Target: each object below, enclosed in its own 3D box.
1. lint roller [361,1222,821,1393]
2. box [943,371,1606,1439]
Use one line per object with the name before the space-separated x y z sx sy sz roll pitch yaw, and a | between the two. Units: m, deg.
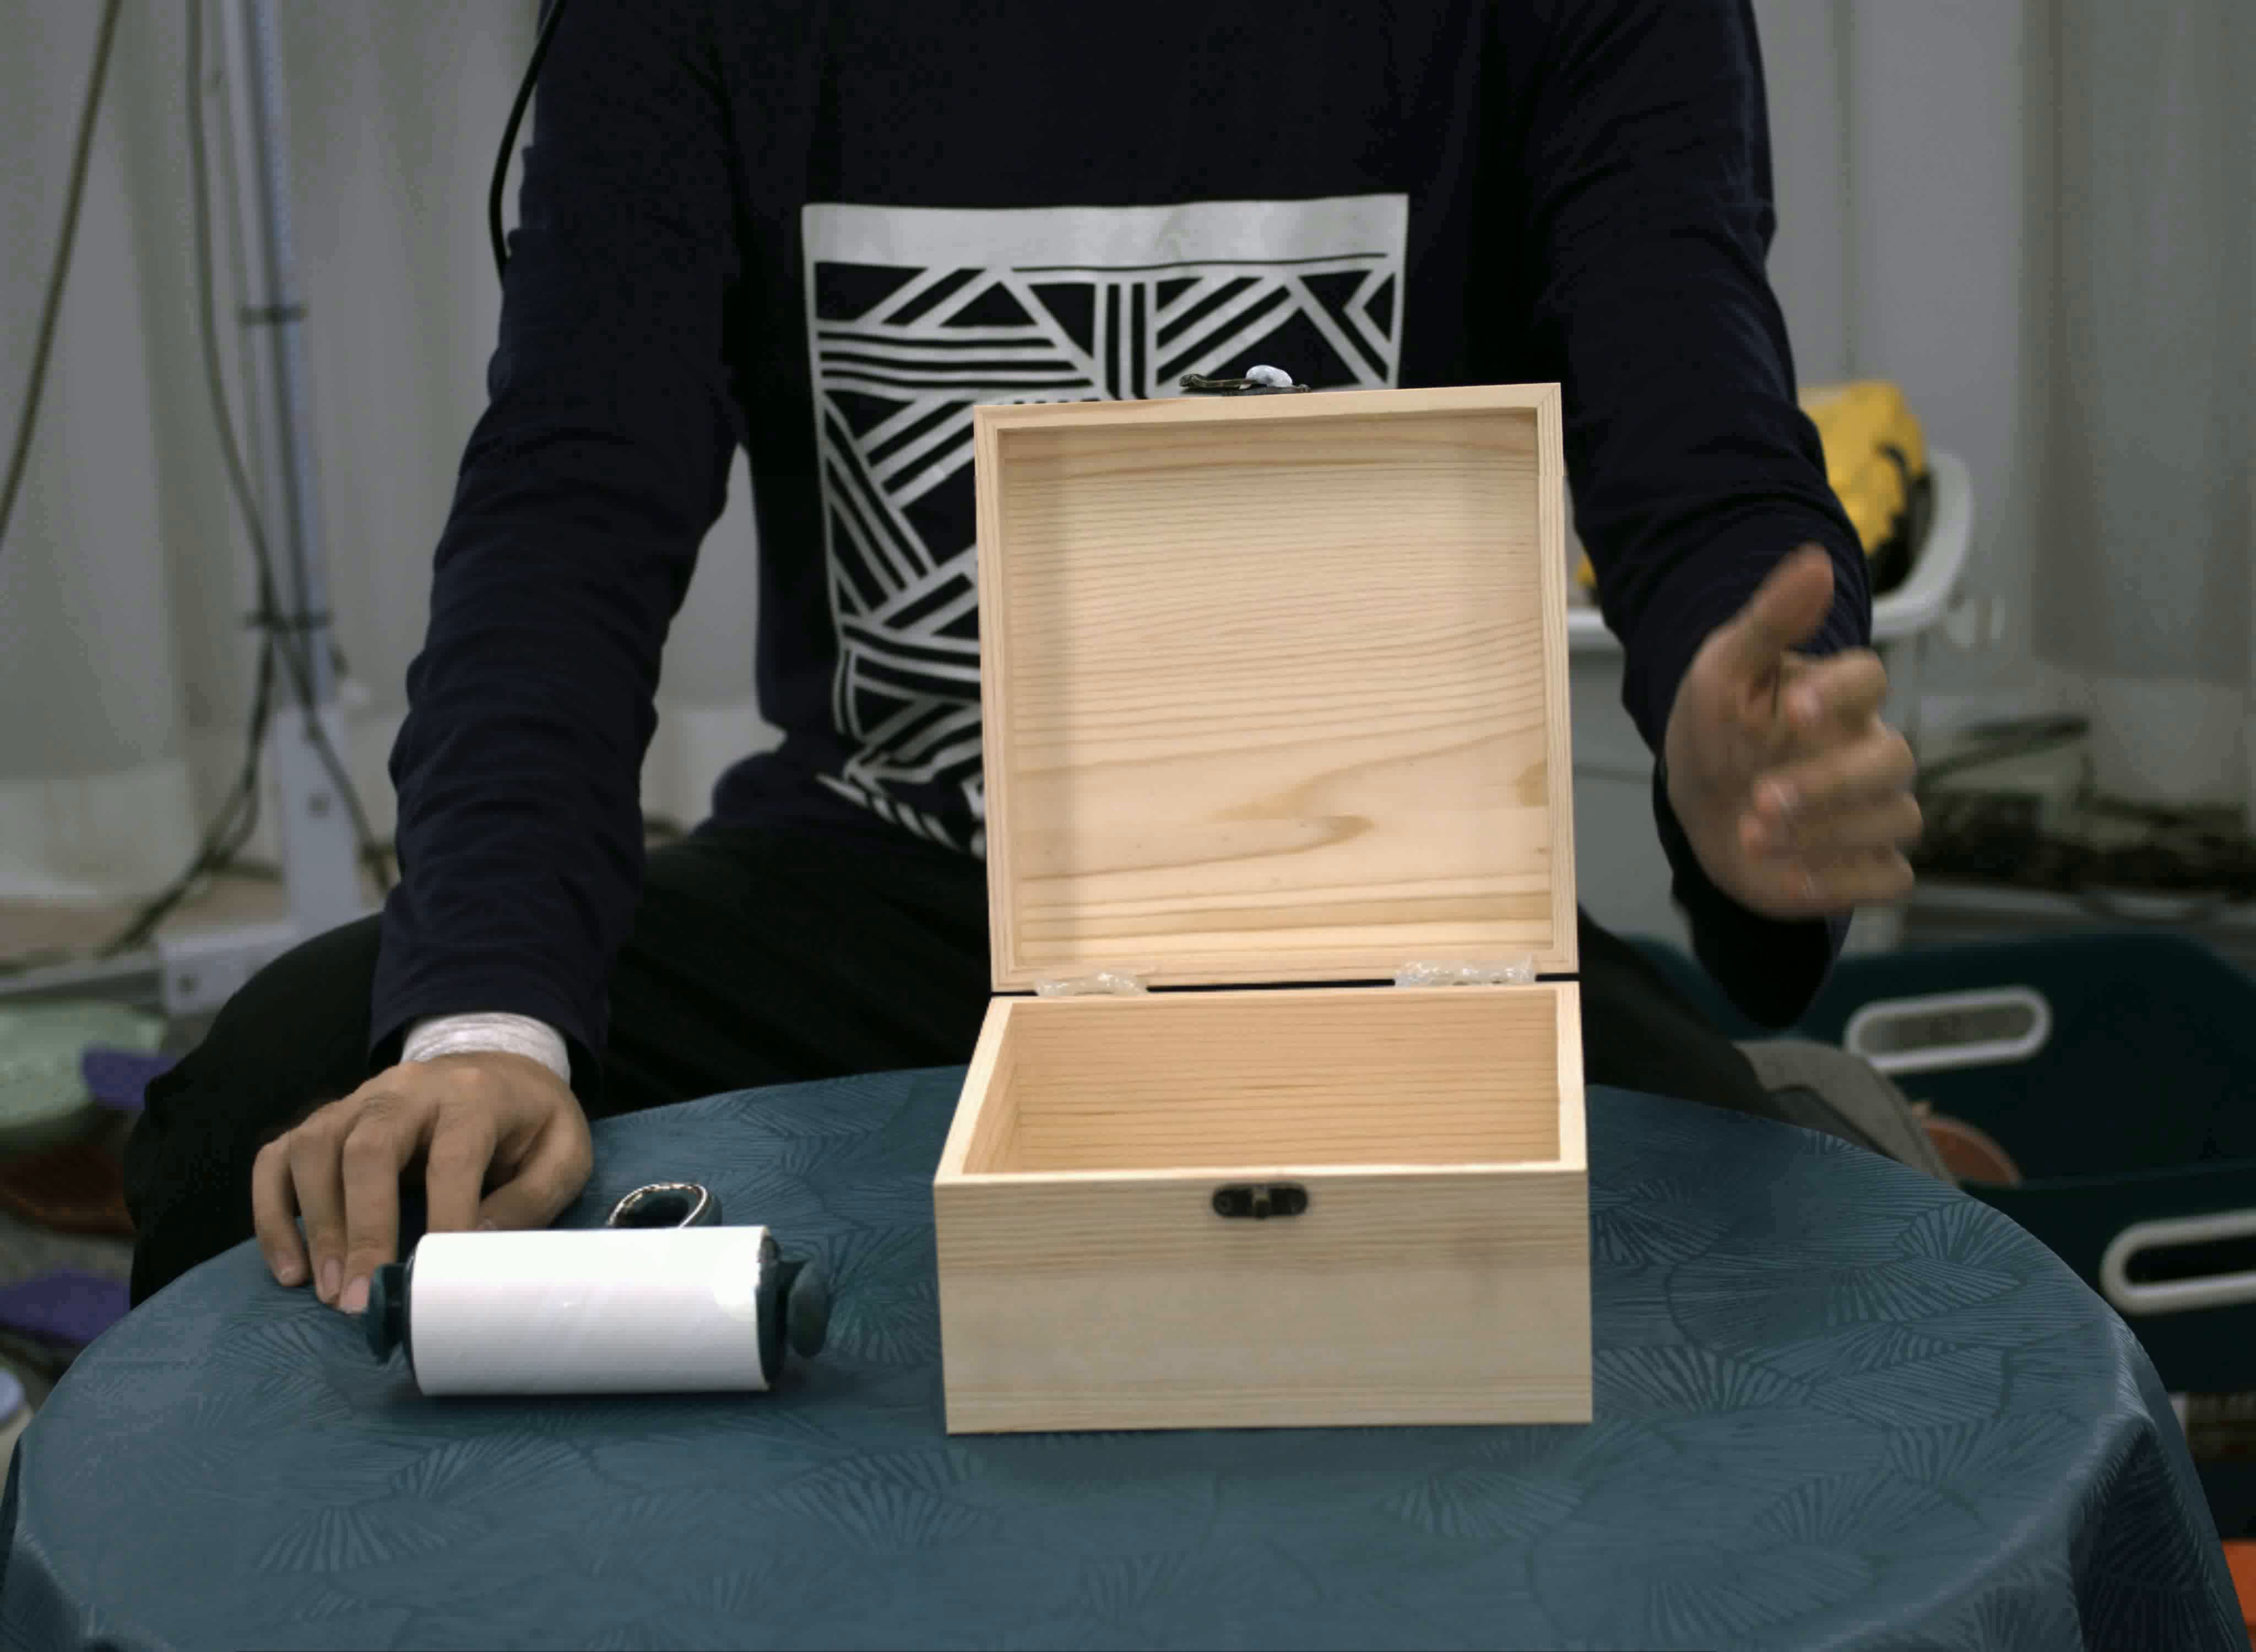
lint roller | -0.149 0.126 1.628 0.134 0.048 0.181 -2 10 4
box | 0.042 0.015 1.601 0.181 0.252 0.267 -3 14 4
